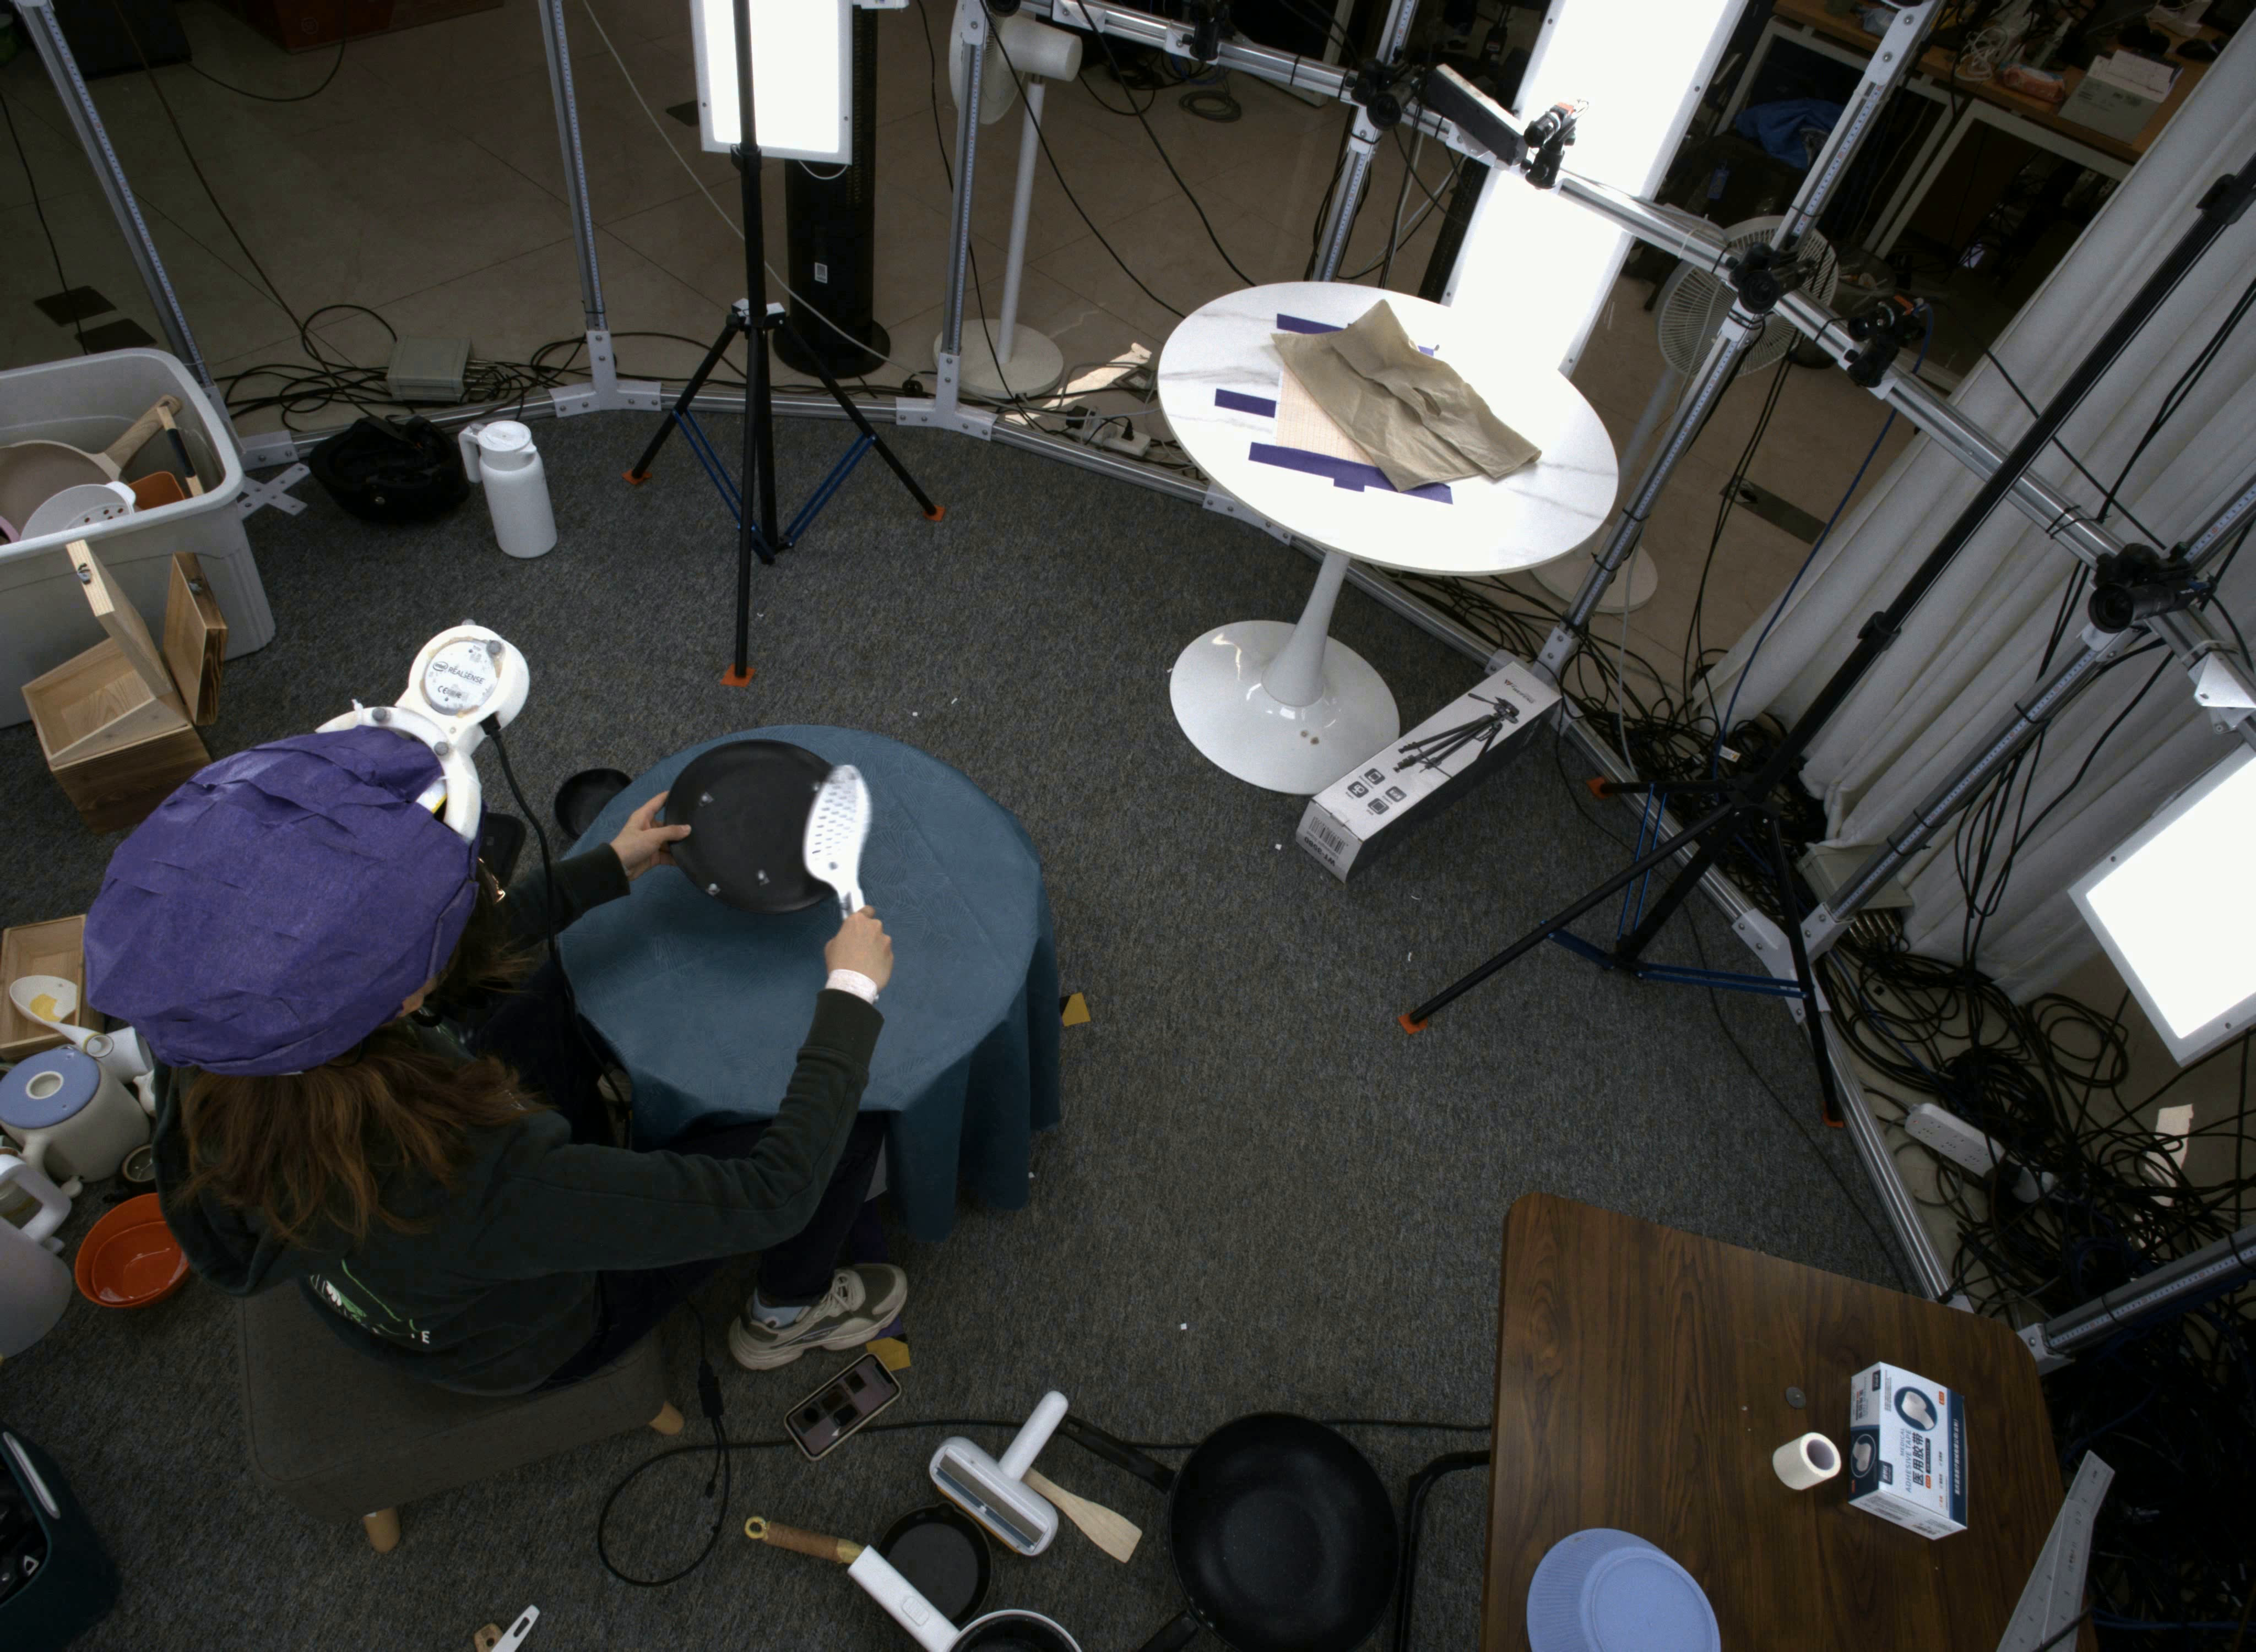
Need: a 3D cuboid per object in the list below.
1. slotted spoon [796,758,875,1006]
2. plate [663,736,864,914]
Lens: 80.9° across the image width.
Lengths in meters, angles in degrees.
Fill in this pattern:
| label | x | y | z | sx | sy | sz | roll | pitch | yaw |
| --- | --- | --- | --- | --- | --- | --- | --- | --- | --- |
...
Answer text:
| label | x | y | z | sx | sy | sz | roll | pitch | yaw |
| --- | --- | --- | --- | --- | --- | --- | --- | --- | --- |
| slotted spoon | -0.322 | 0.061 | 1.453 | 0.047 | 0.137 | 0.339 | 18 | 34 | -31 |
| plate | -0.449 | -0.001 | 1.599 | 0.247 | 0.023 | 0.241 | 13 | 59 | -20 |
